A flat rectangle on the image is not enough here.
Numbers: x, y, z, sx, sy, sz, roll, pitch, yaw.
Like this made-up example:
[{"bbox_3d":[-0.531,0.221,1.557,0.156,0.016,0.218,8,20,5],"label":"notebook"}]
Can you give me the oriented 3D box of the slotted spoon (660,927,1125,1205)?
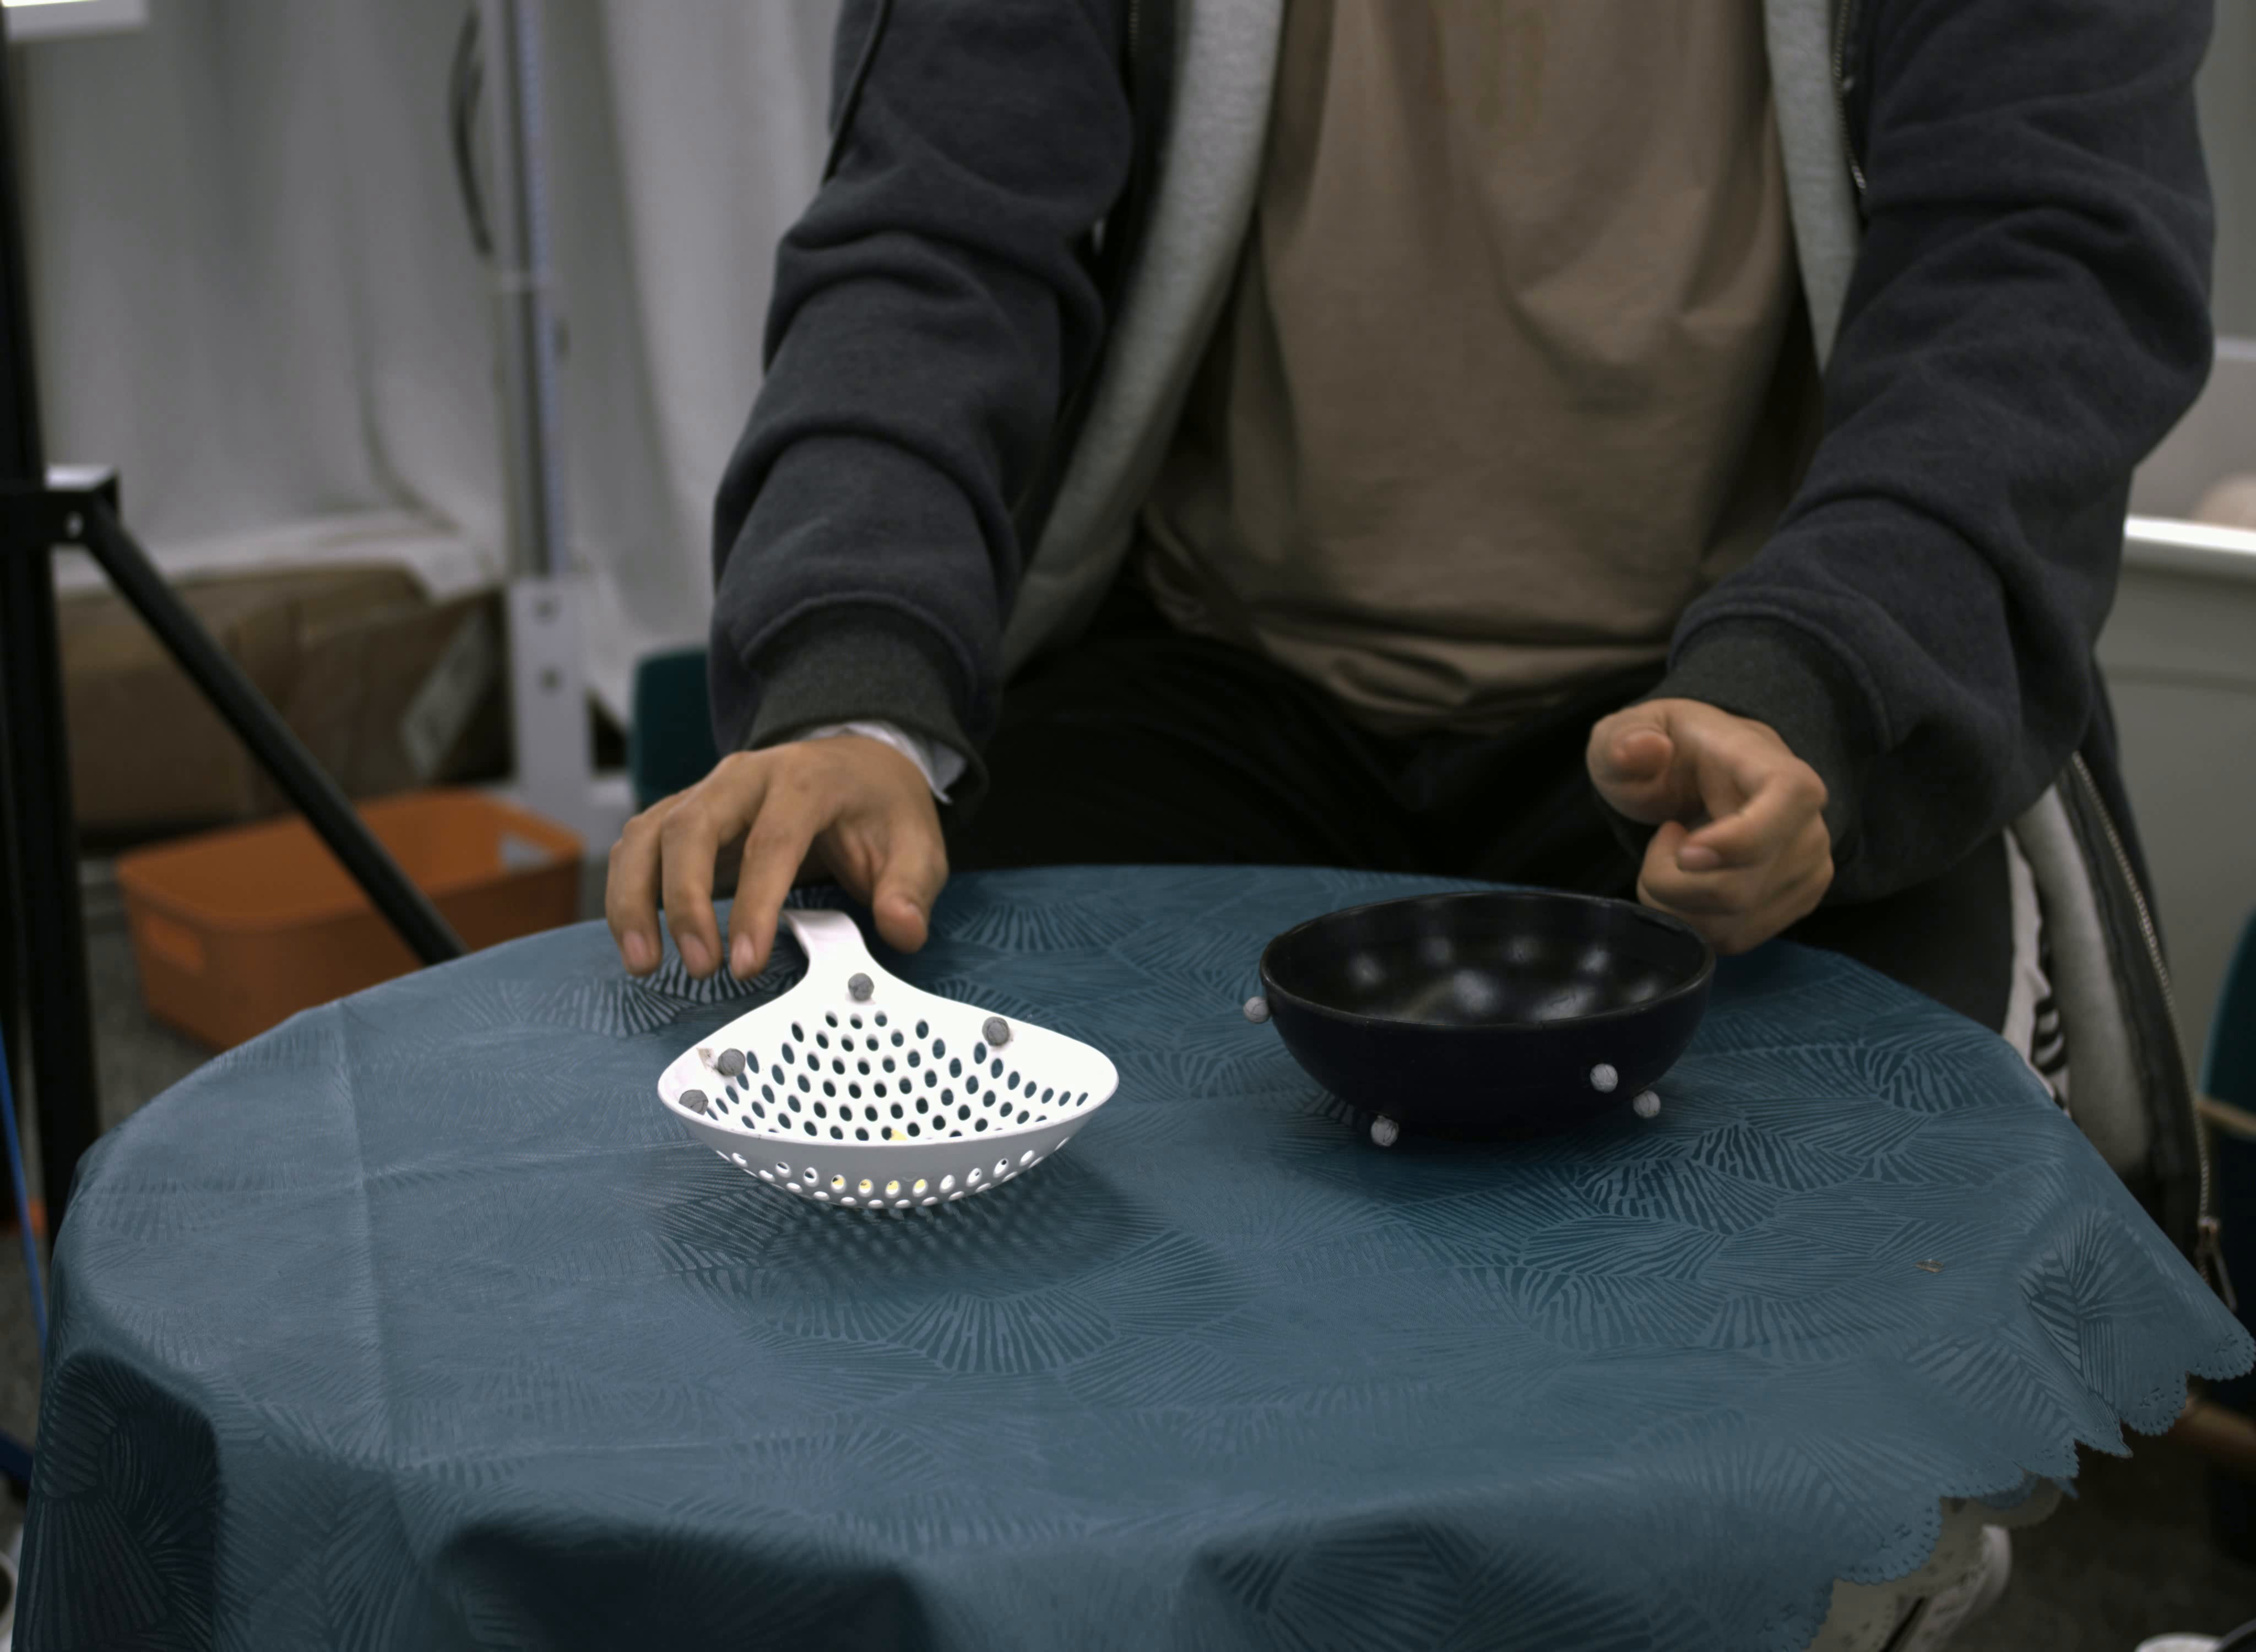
[{"bbox_3d":[-0.088,0.061,1.668,0.135,0.050,0.352,-6,16,-9],"label":"slotted spoon"}]
